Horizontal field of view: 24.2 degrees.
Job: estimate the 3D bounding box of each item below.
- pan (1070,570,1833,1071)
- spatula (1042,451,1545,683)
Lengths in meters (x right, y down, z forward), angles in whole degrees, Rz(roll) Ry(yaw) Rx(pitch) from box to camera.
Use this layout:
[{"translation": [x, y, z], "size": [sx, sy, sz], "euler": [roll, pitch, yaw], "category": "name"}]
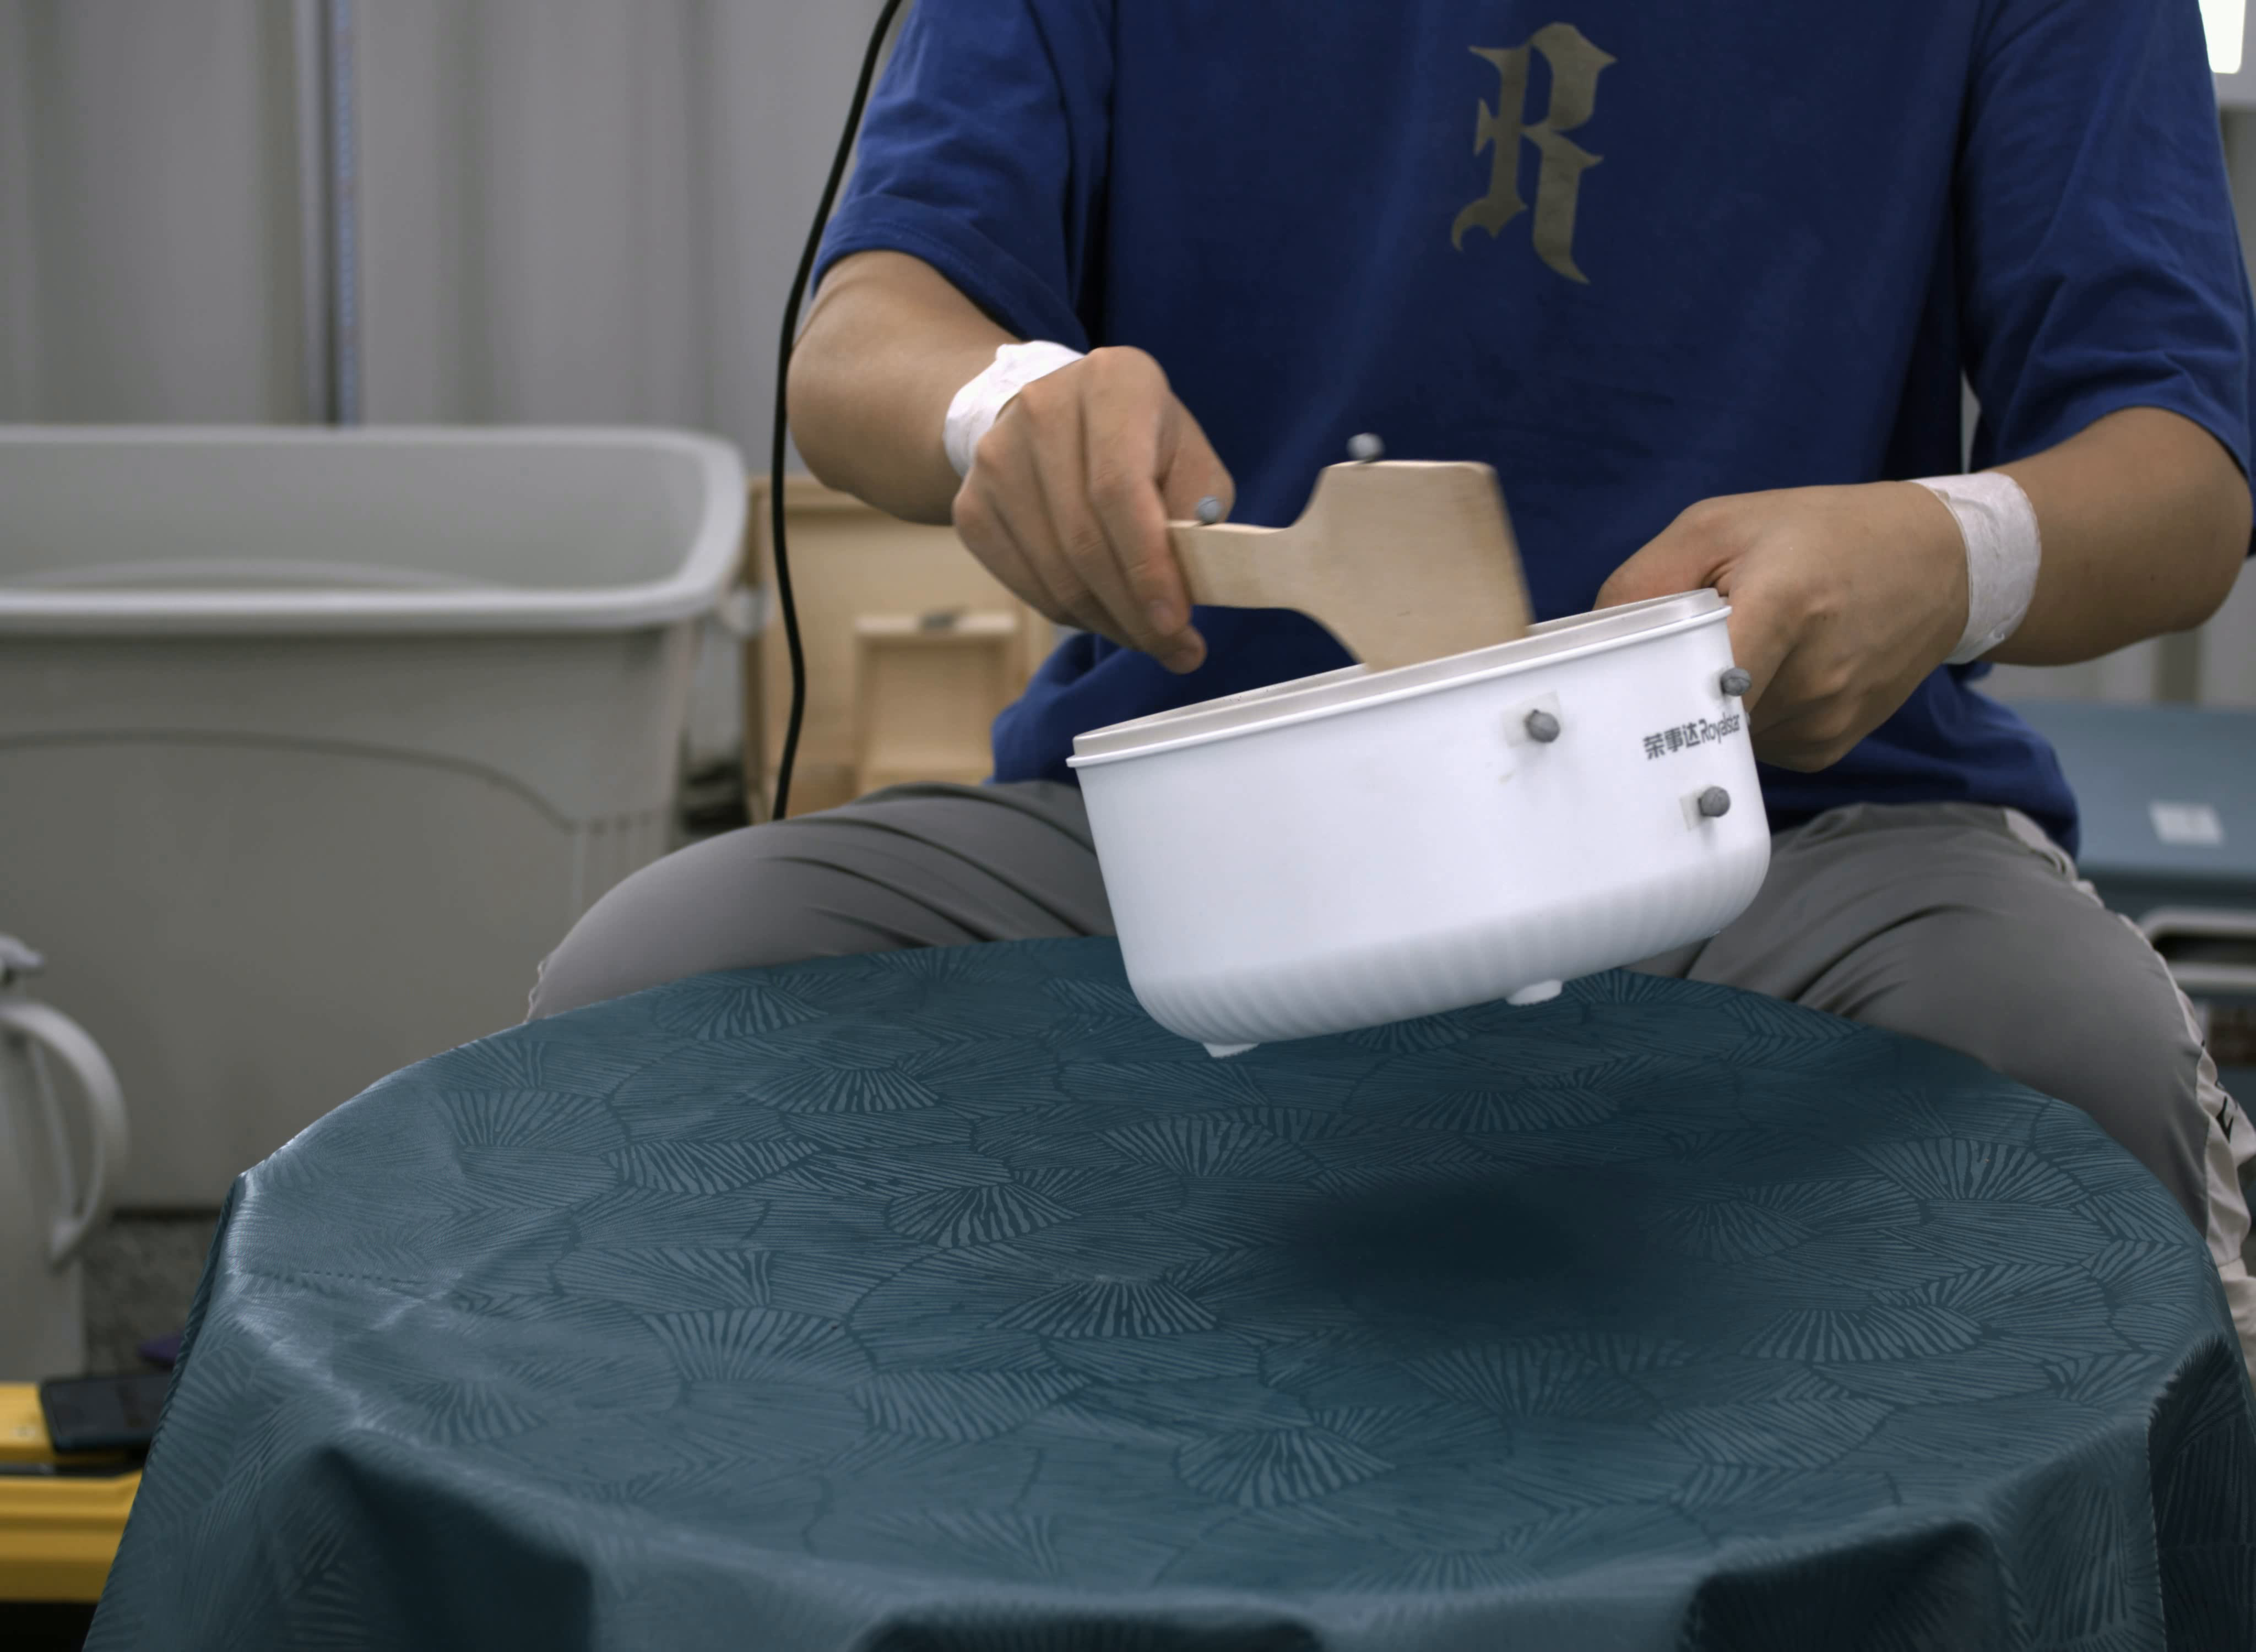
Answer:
[{"translation": [0.131, -0.009, 1.614], "size": [0.199, 0.102, 0.356], "euler": [-14, 1, 33], "category": "pan"}, {"translation": [0.041, -0.082, 1.610], "size": [0.010, 0.073, 0.290], "euler": [-24, 15, -24], "category": "spatula"}]
